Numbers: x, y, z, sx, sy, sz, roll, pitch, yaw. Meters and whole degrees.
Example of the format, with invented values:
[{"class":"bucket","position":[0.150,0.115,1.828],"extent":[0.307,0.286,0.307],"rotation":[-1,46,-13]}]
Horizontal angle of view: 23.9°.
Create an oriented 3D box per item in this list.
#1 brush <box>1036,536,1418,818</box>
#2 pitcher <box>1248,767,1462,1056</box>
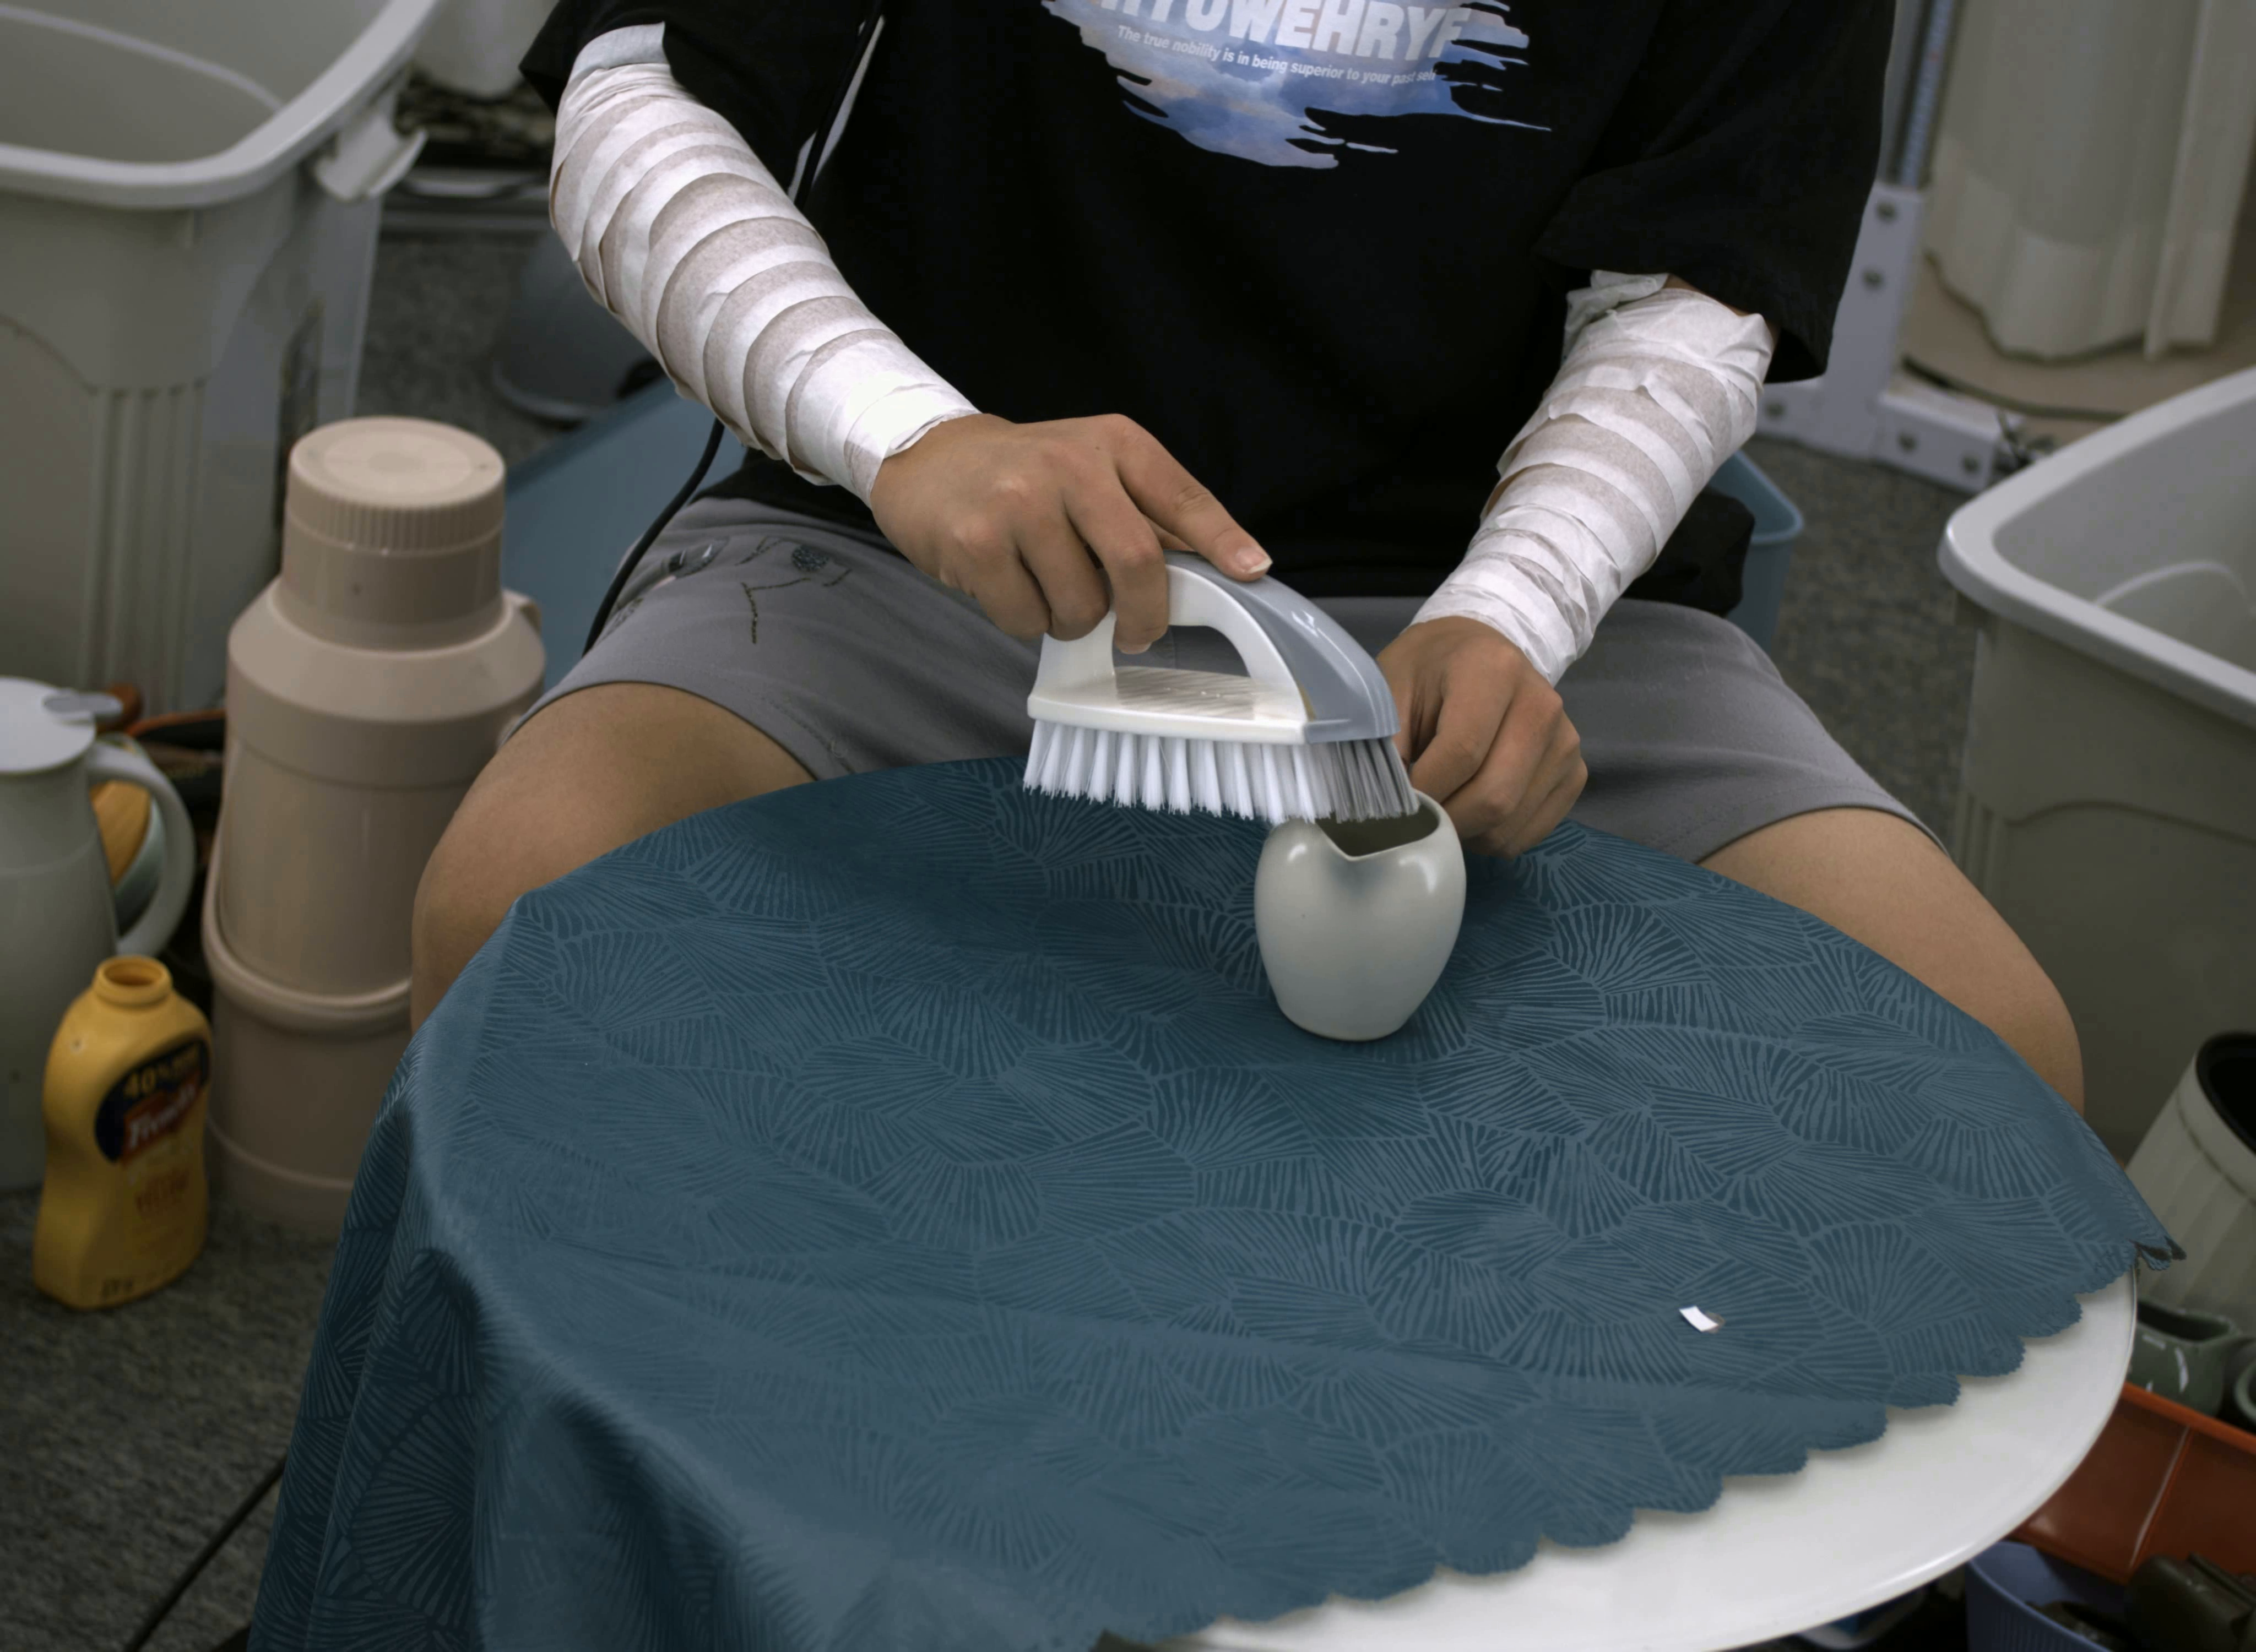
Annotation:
[{"class":"brush","position":[0.035,-0.055,1.909],"extent":[0.061,0.094,0.176],"rotation":[-24,24,-37]},{"class":"pitcher","position":[0.082,0.031,1.912],"extent":[0.076,0.087,0.119],"rotation":[16,29,10]}]
